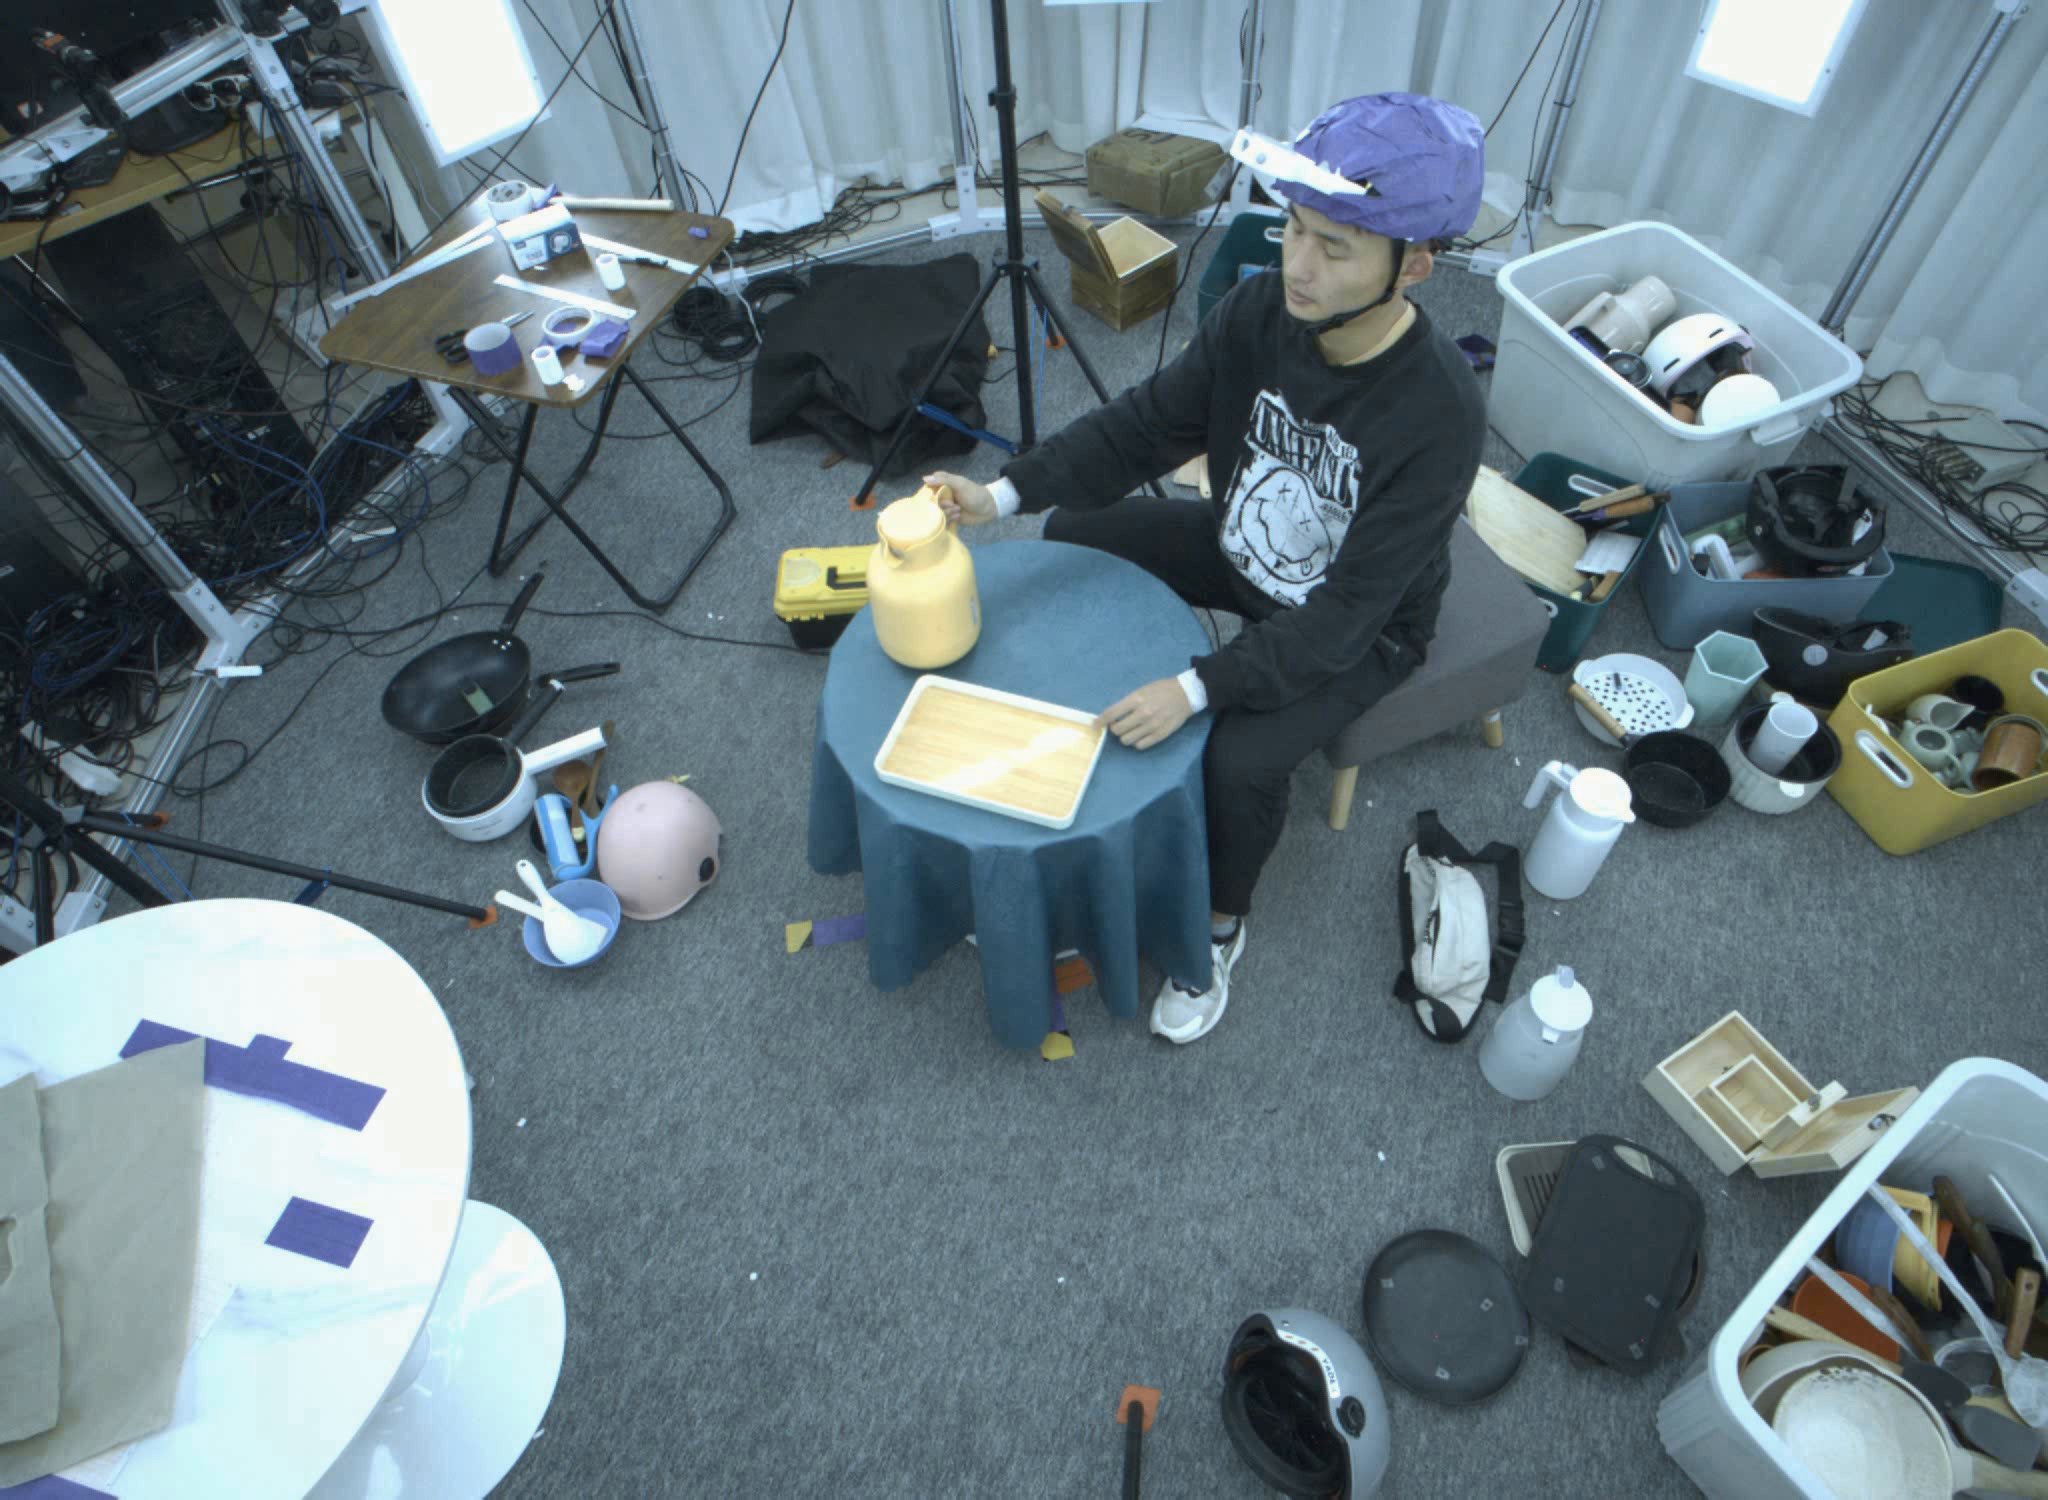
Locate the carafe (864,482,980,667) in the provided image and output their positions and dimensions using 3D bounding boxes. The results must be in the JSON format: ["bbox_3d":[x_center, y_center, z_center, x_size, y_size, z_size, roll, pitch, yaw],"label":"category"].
[{"bbox_3d":[-0.147,-0.268,1.816,0.162,0.263,0.202,17,58,13],"label":"carafe"}]

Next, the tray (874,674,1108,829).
[{"bbox_3d":[-0.046,-0.002,1.769,0.297,0.028,0.191,15,57,12],"label":"tray"}]
